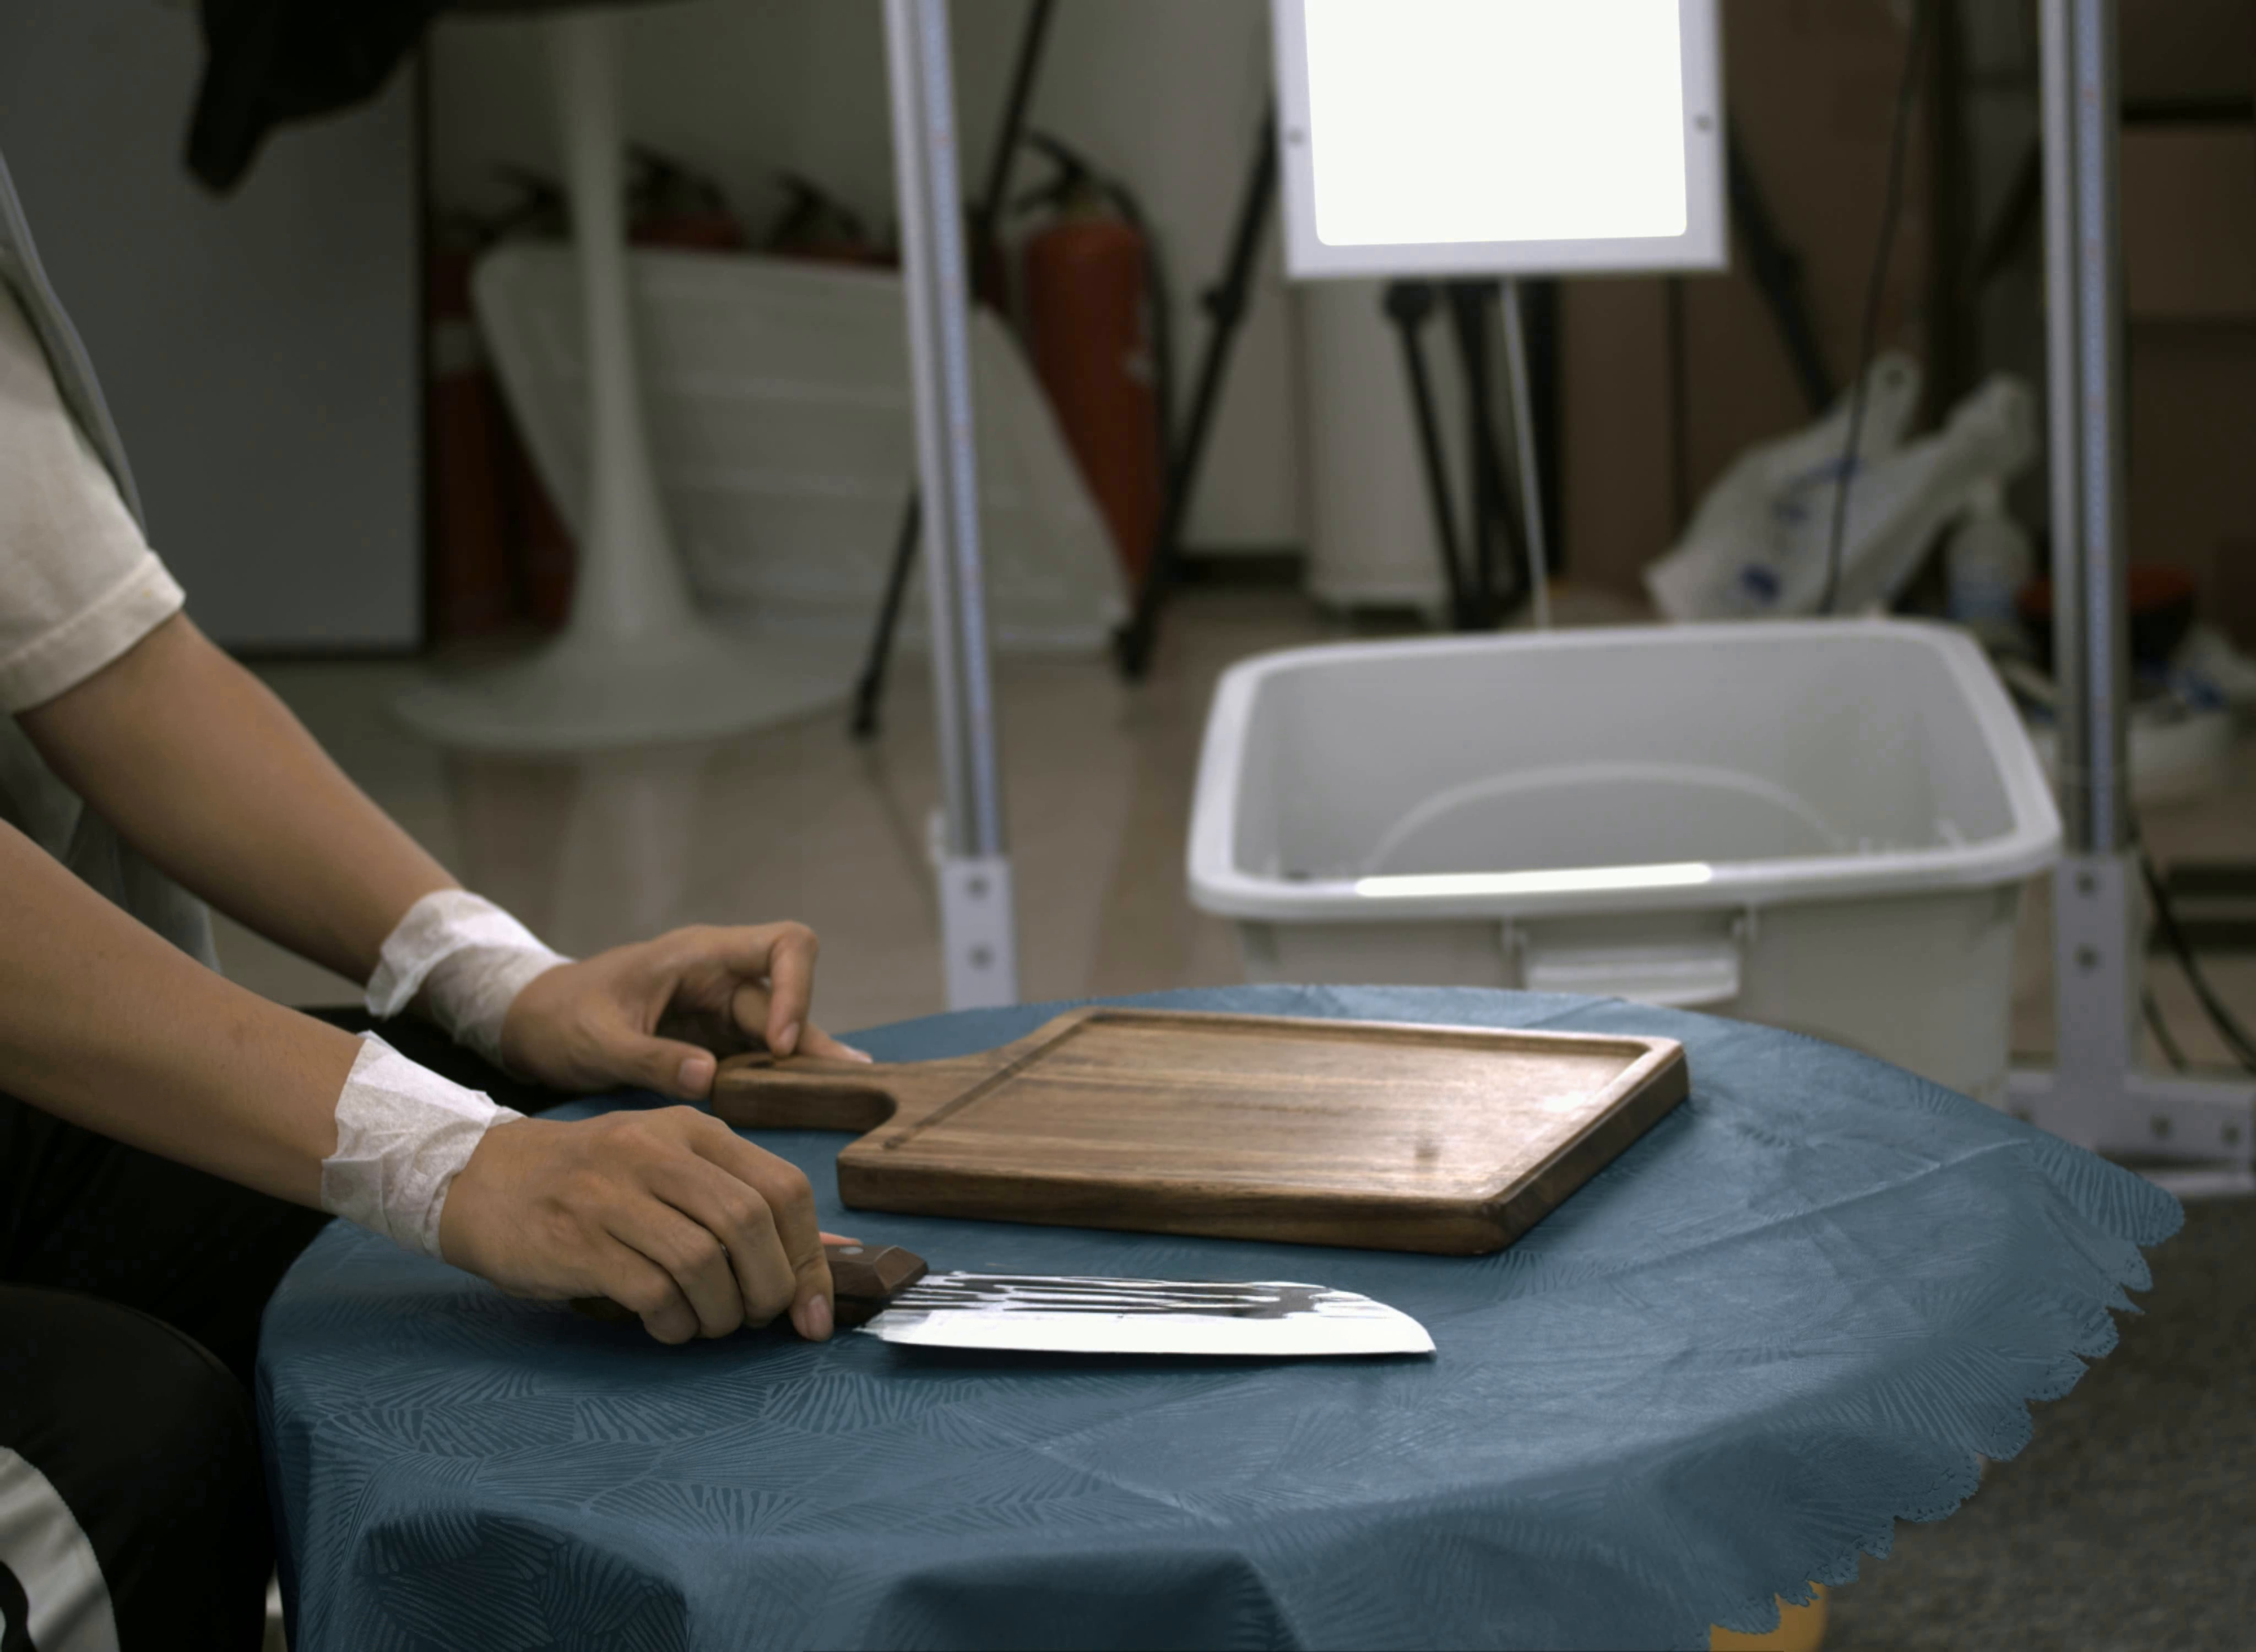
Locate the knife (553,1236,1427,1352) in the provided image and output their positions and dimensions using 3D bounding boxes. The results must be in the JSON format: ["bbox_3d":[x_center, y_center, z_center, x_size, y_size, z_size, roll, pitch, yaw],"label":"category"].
[{"bbox_3d":[-0.048,0.153,1.760,0.302,0.024,0.067,1,14,15],"label":"knife"}]

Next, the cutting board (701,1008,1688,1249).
[{"bbox_3d":[0.005,0.102,1.953,0.358,0.023,0.197,1,15,28],"label":"cutting board"}]
